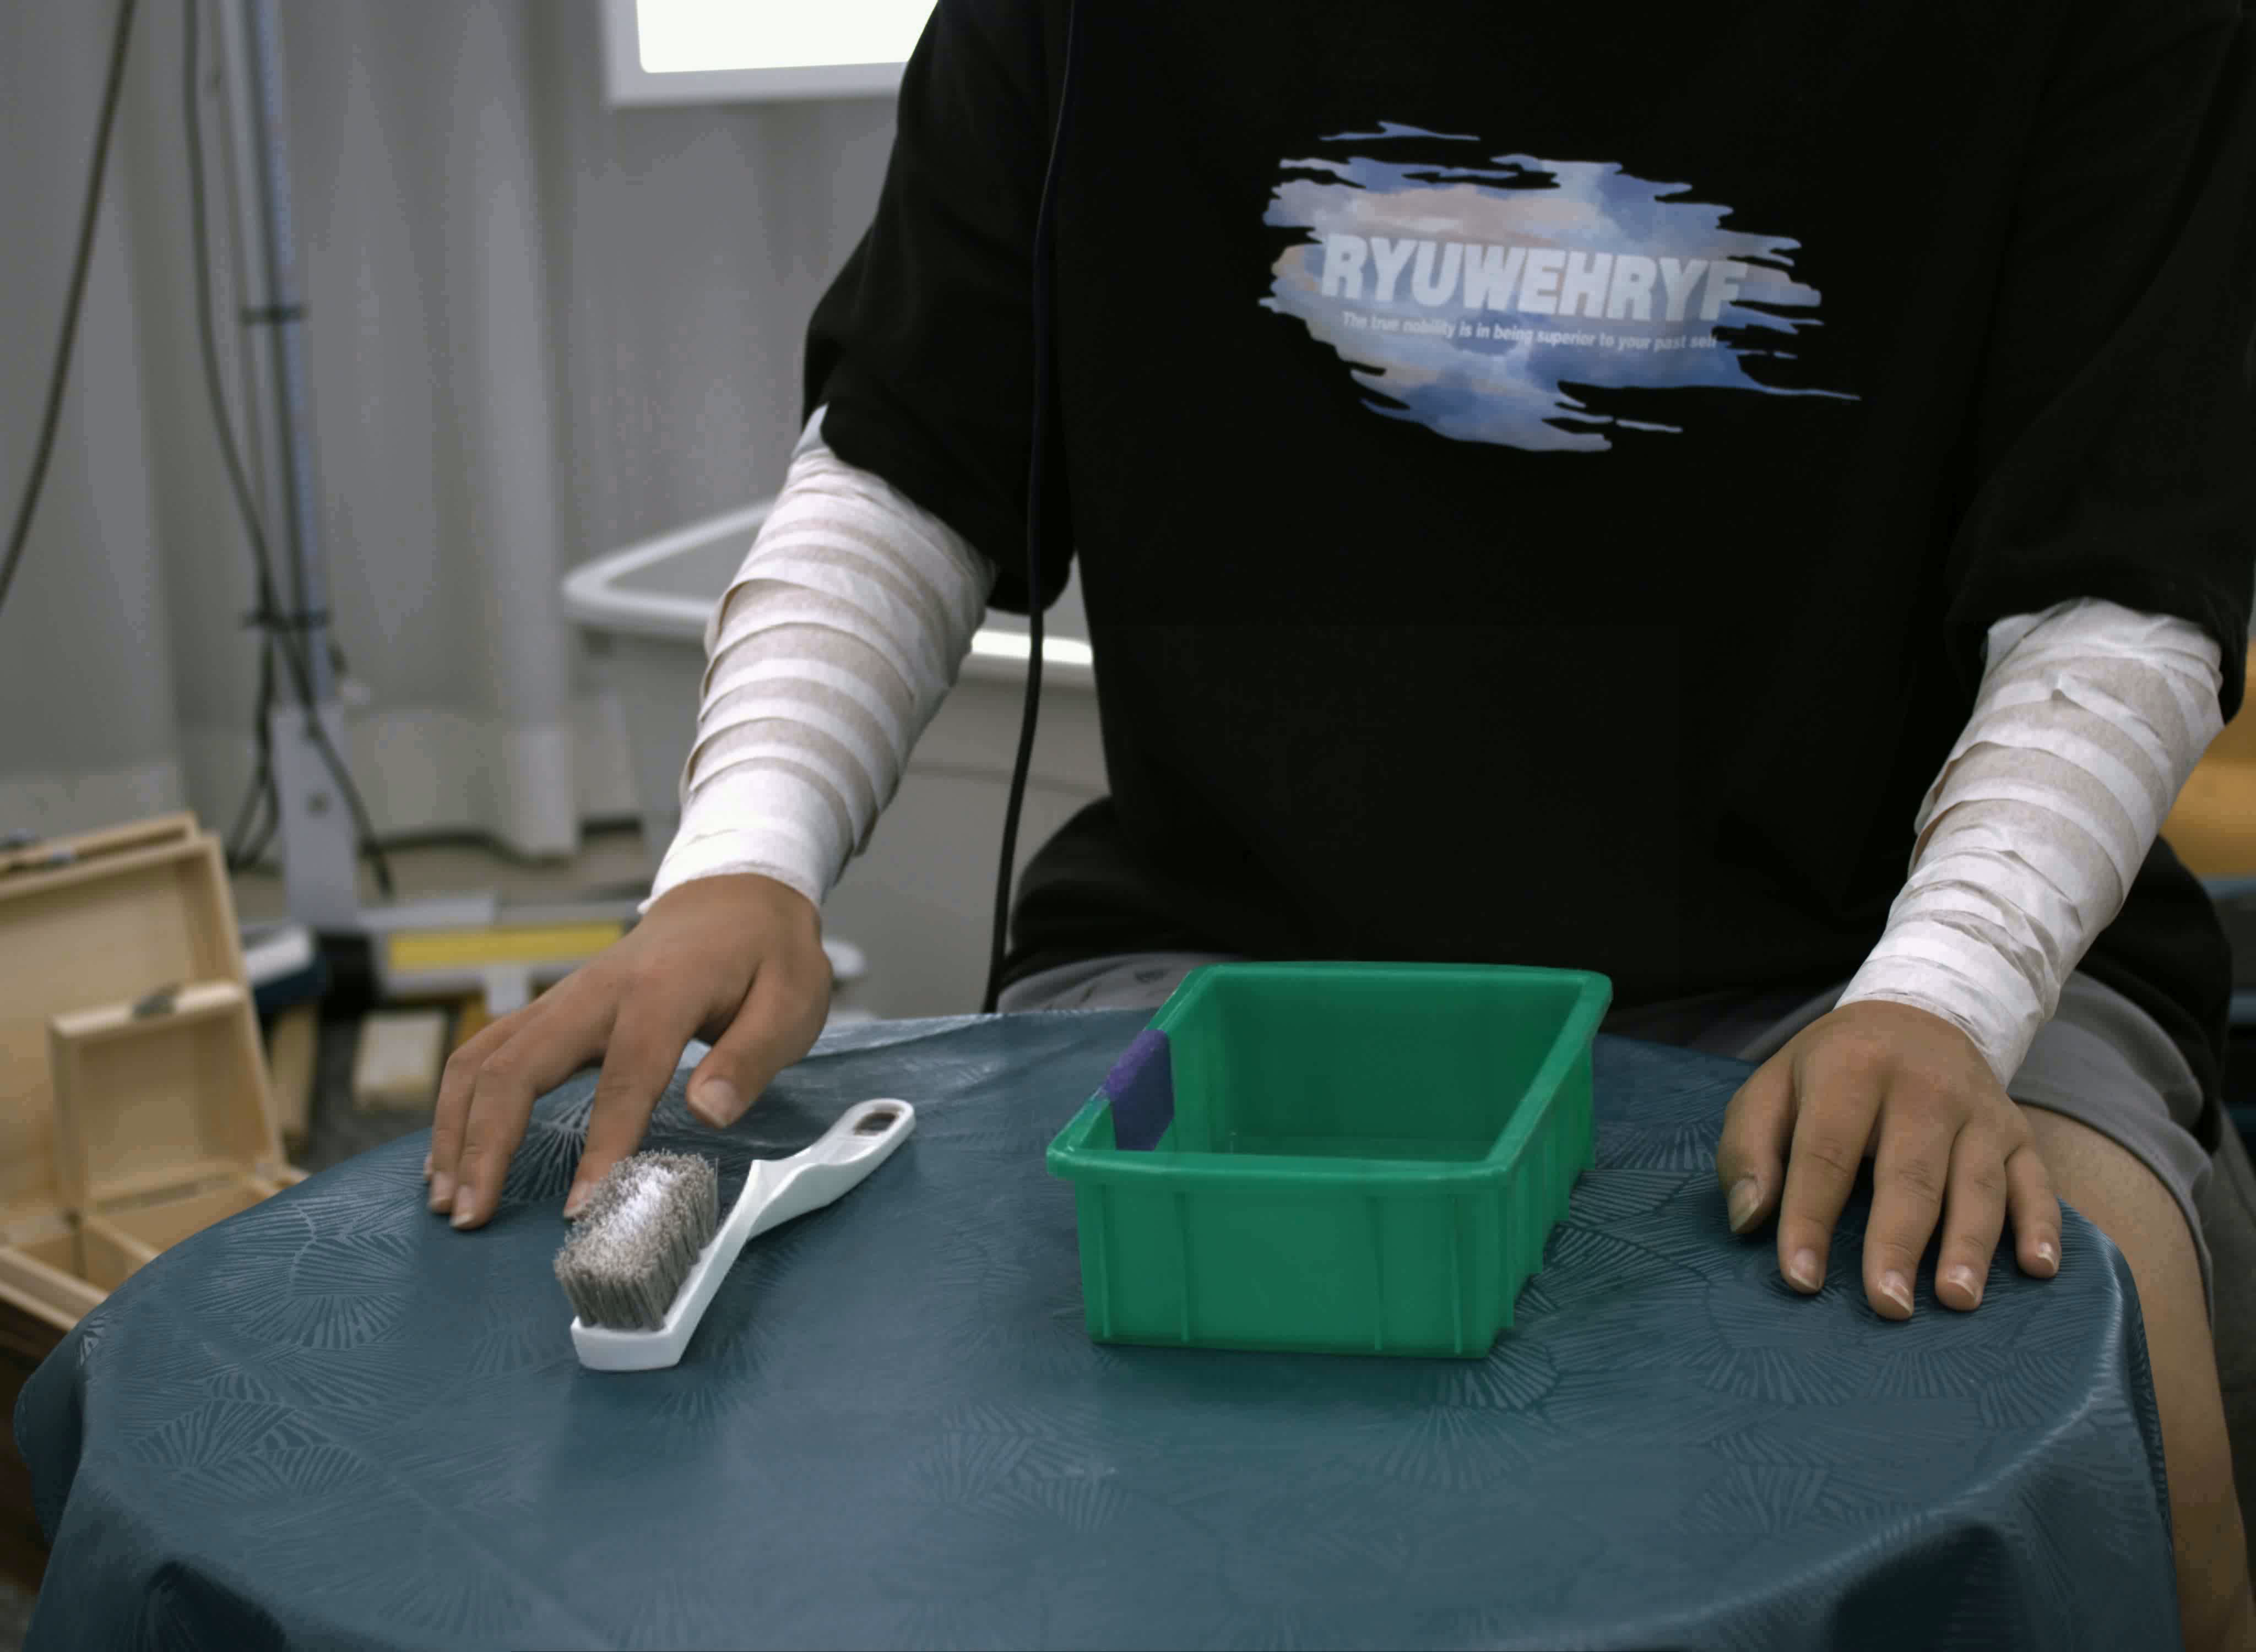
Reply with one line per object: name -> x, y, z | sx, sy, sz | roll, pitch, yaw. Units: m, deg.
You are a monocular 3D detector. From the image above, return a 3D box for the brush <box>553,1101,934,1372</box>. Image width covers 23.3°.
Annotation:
brush -> -0.113, 0.106, 1.673 | 0.034, 0.050, 0.244 | 0, 15, 20

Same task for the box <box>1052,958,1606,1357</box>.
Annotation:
box -> 0.066, 0.099, 1.639 | 0.138, 0.065, 0.211 | -2, 15, 13
